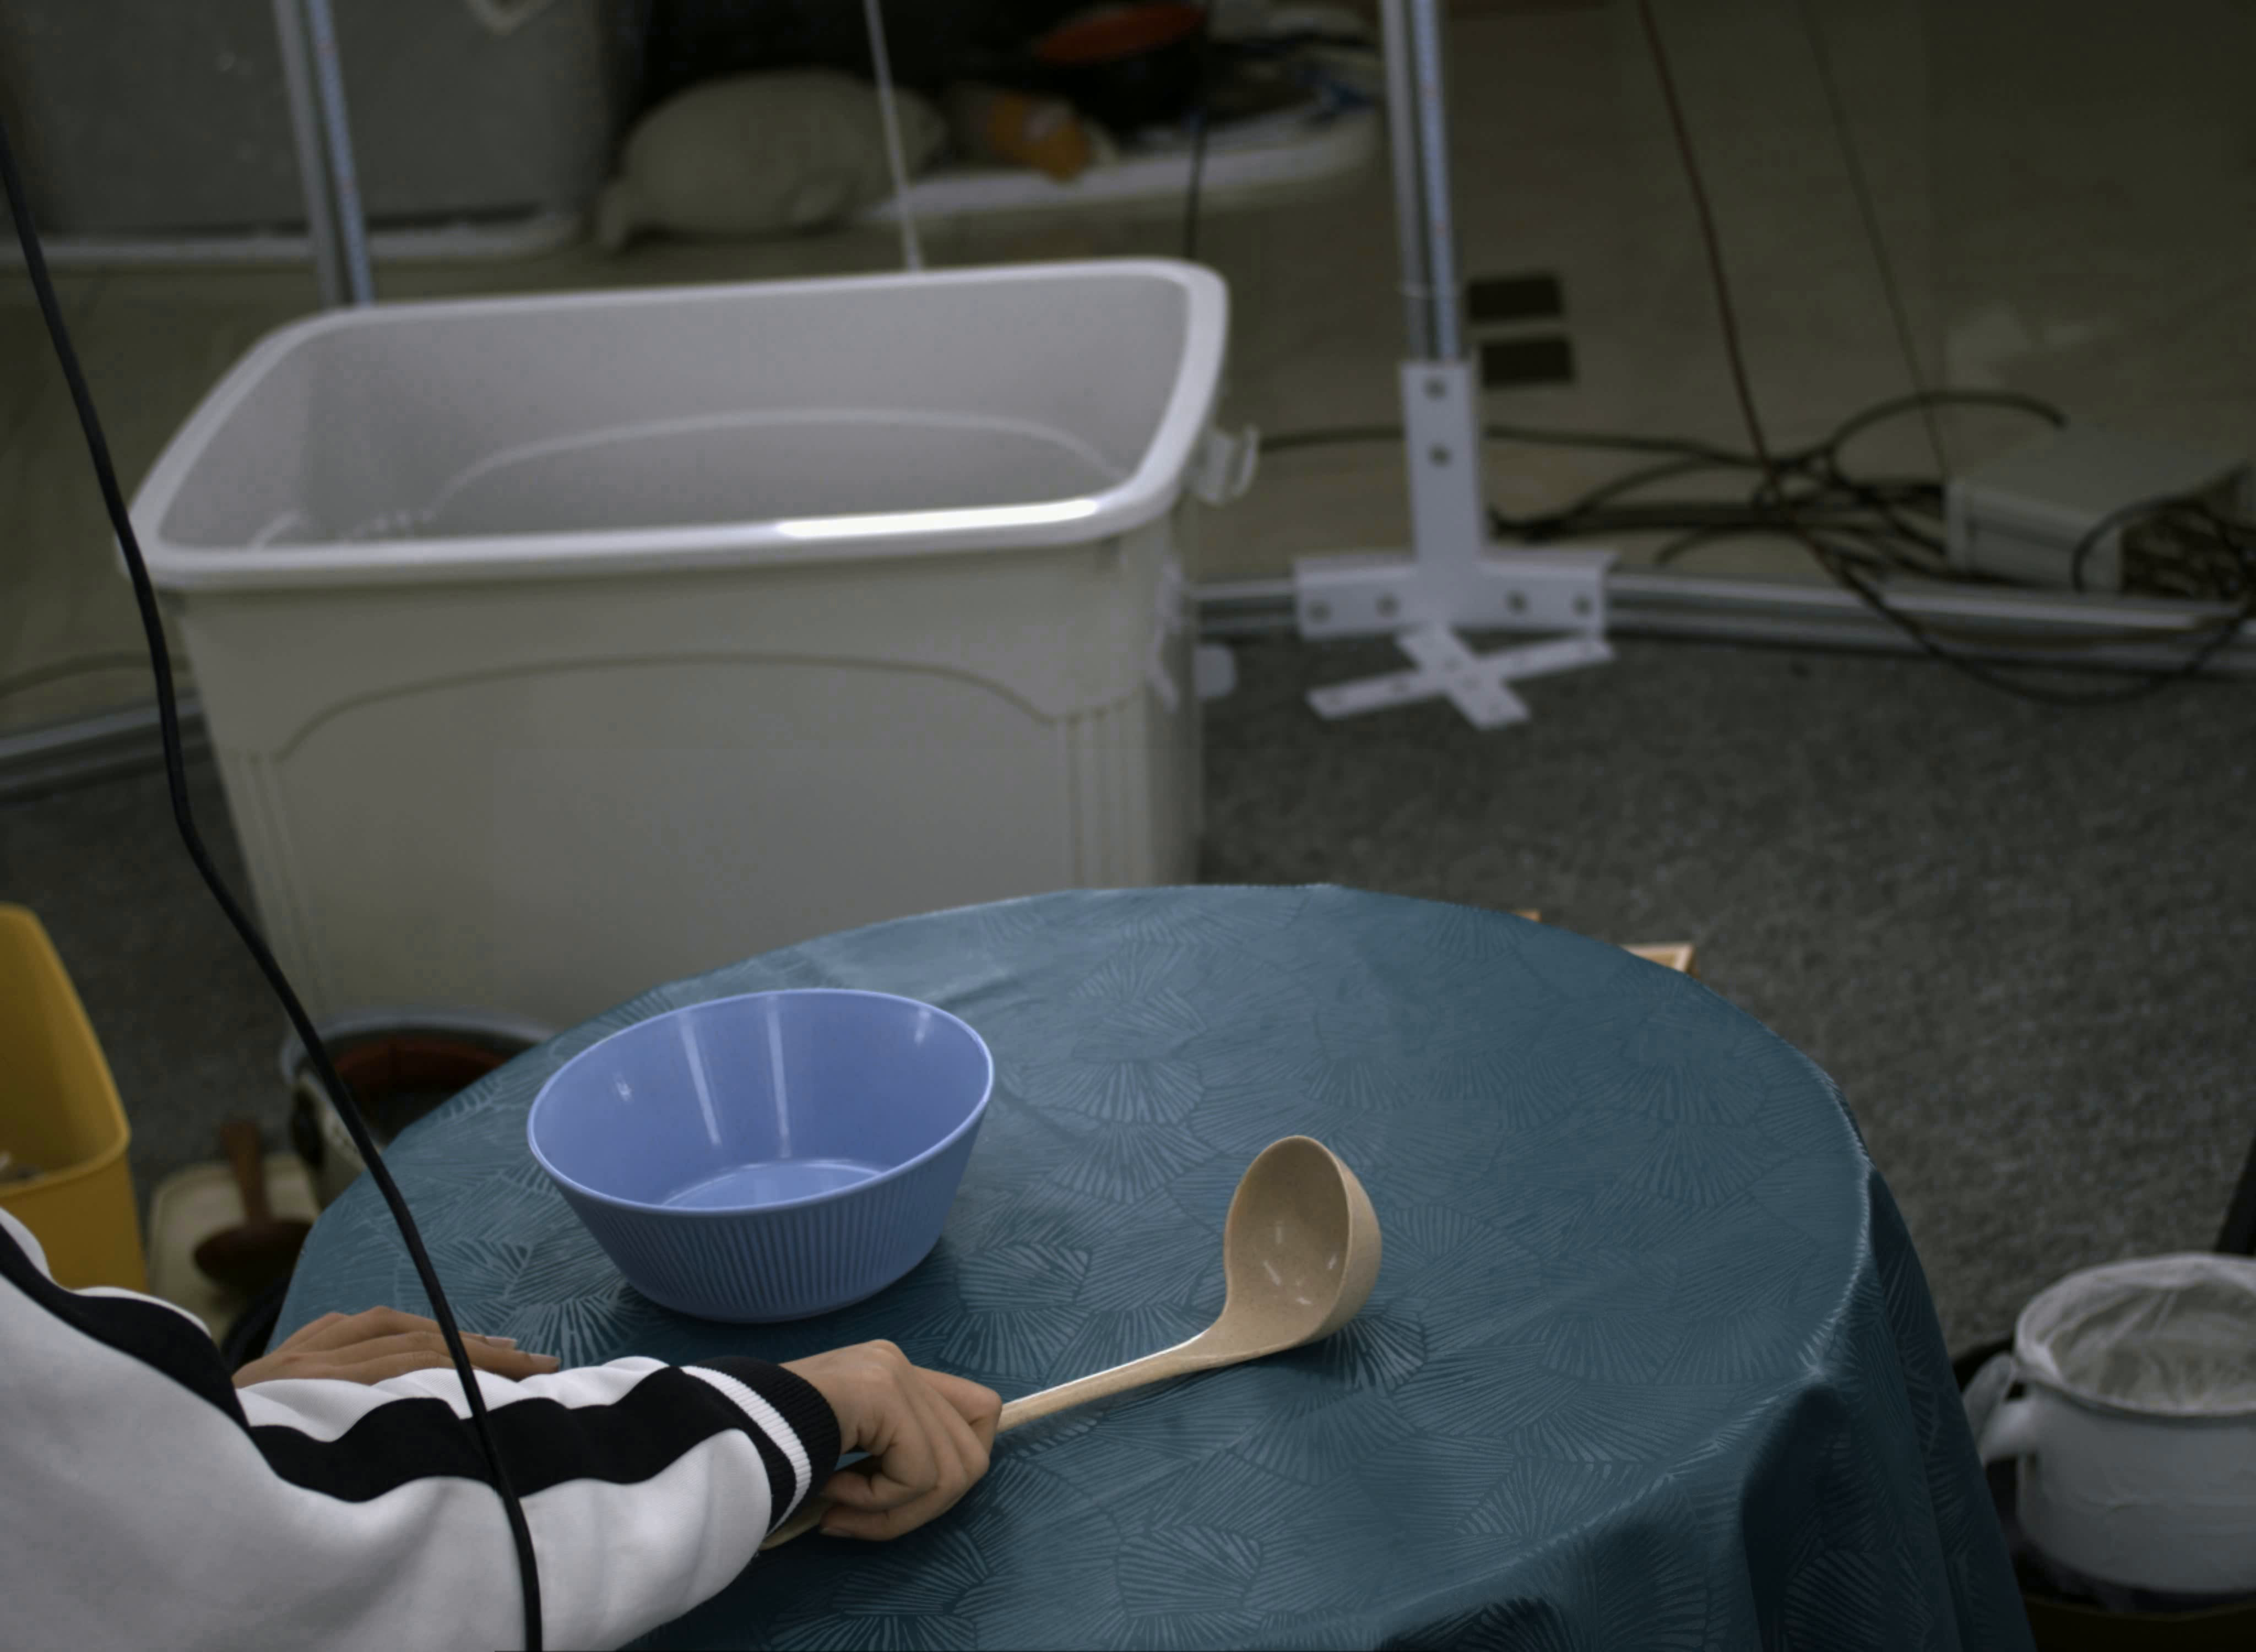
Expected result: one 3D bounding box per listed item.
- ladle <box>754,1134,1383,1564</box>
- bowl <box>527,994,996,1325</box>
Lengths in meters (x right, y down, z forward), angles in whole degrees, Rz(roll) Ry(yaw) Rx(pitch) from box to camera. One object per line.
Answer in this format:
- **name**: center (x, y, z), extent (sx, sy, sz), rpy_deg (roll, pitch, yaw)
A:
- **ladle**: center (-0.024, 0.179, 1.981), extent (0.253, 0.074, 0.071), rpy_deg (-21, 33, -27)
- **bowl**: center (-0.133, 0.130, 2.116), extent (0.176, 0.071, 0.173), rpy_deg (-6, 24, 3)
